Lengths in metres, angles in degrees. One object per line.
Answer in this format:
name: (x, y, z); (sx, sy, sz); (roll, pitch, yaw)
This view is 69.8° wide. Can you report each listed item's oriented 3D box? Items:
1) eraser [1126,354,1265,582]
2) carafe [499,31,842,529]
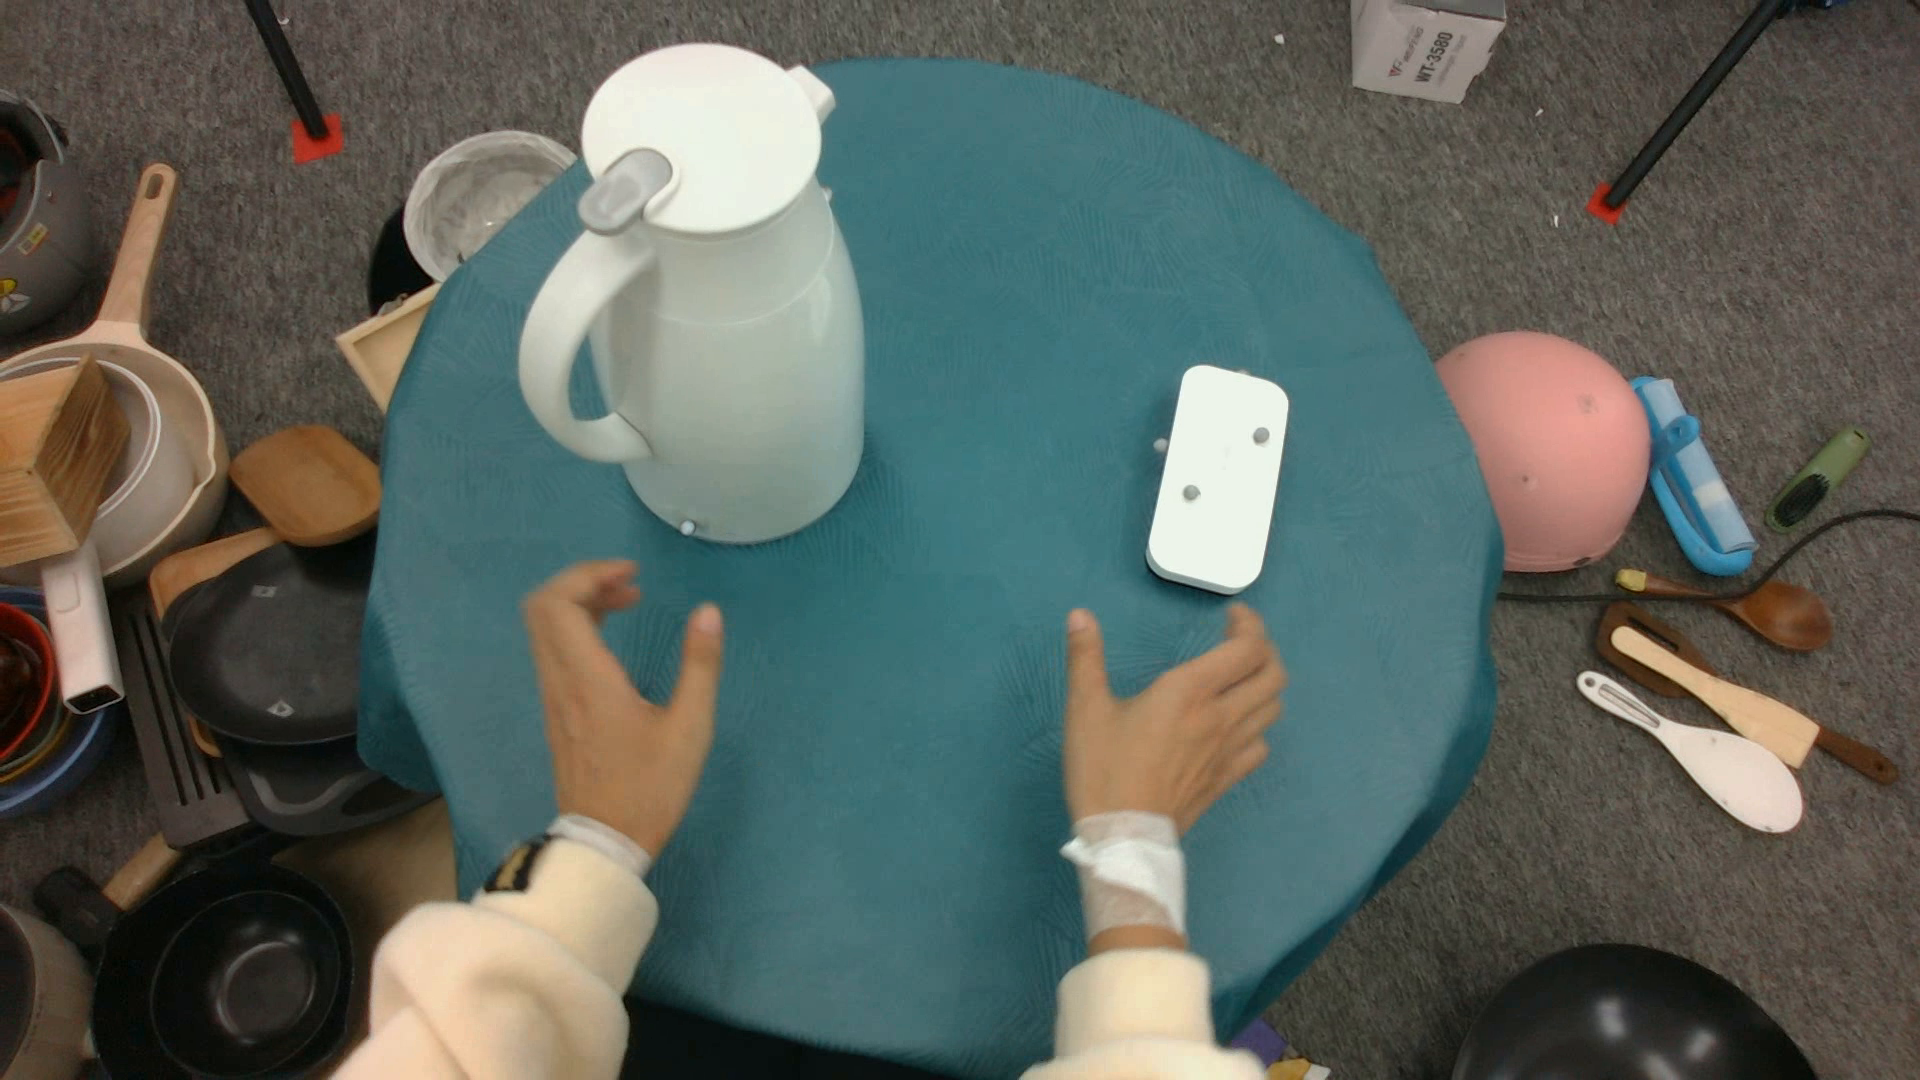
eraser: (0.127, -0.042, 0.753); (0.063, 0.034, 0.132); (14, 64, 3)
carafe: (-0.131, -0.102, 0.632); (0.132, 0.247, 0.168); (40, 68, 11)
